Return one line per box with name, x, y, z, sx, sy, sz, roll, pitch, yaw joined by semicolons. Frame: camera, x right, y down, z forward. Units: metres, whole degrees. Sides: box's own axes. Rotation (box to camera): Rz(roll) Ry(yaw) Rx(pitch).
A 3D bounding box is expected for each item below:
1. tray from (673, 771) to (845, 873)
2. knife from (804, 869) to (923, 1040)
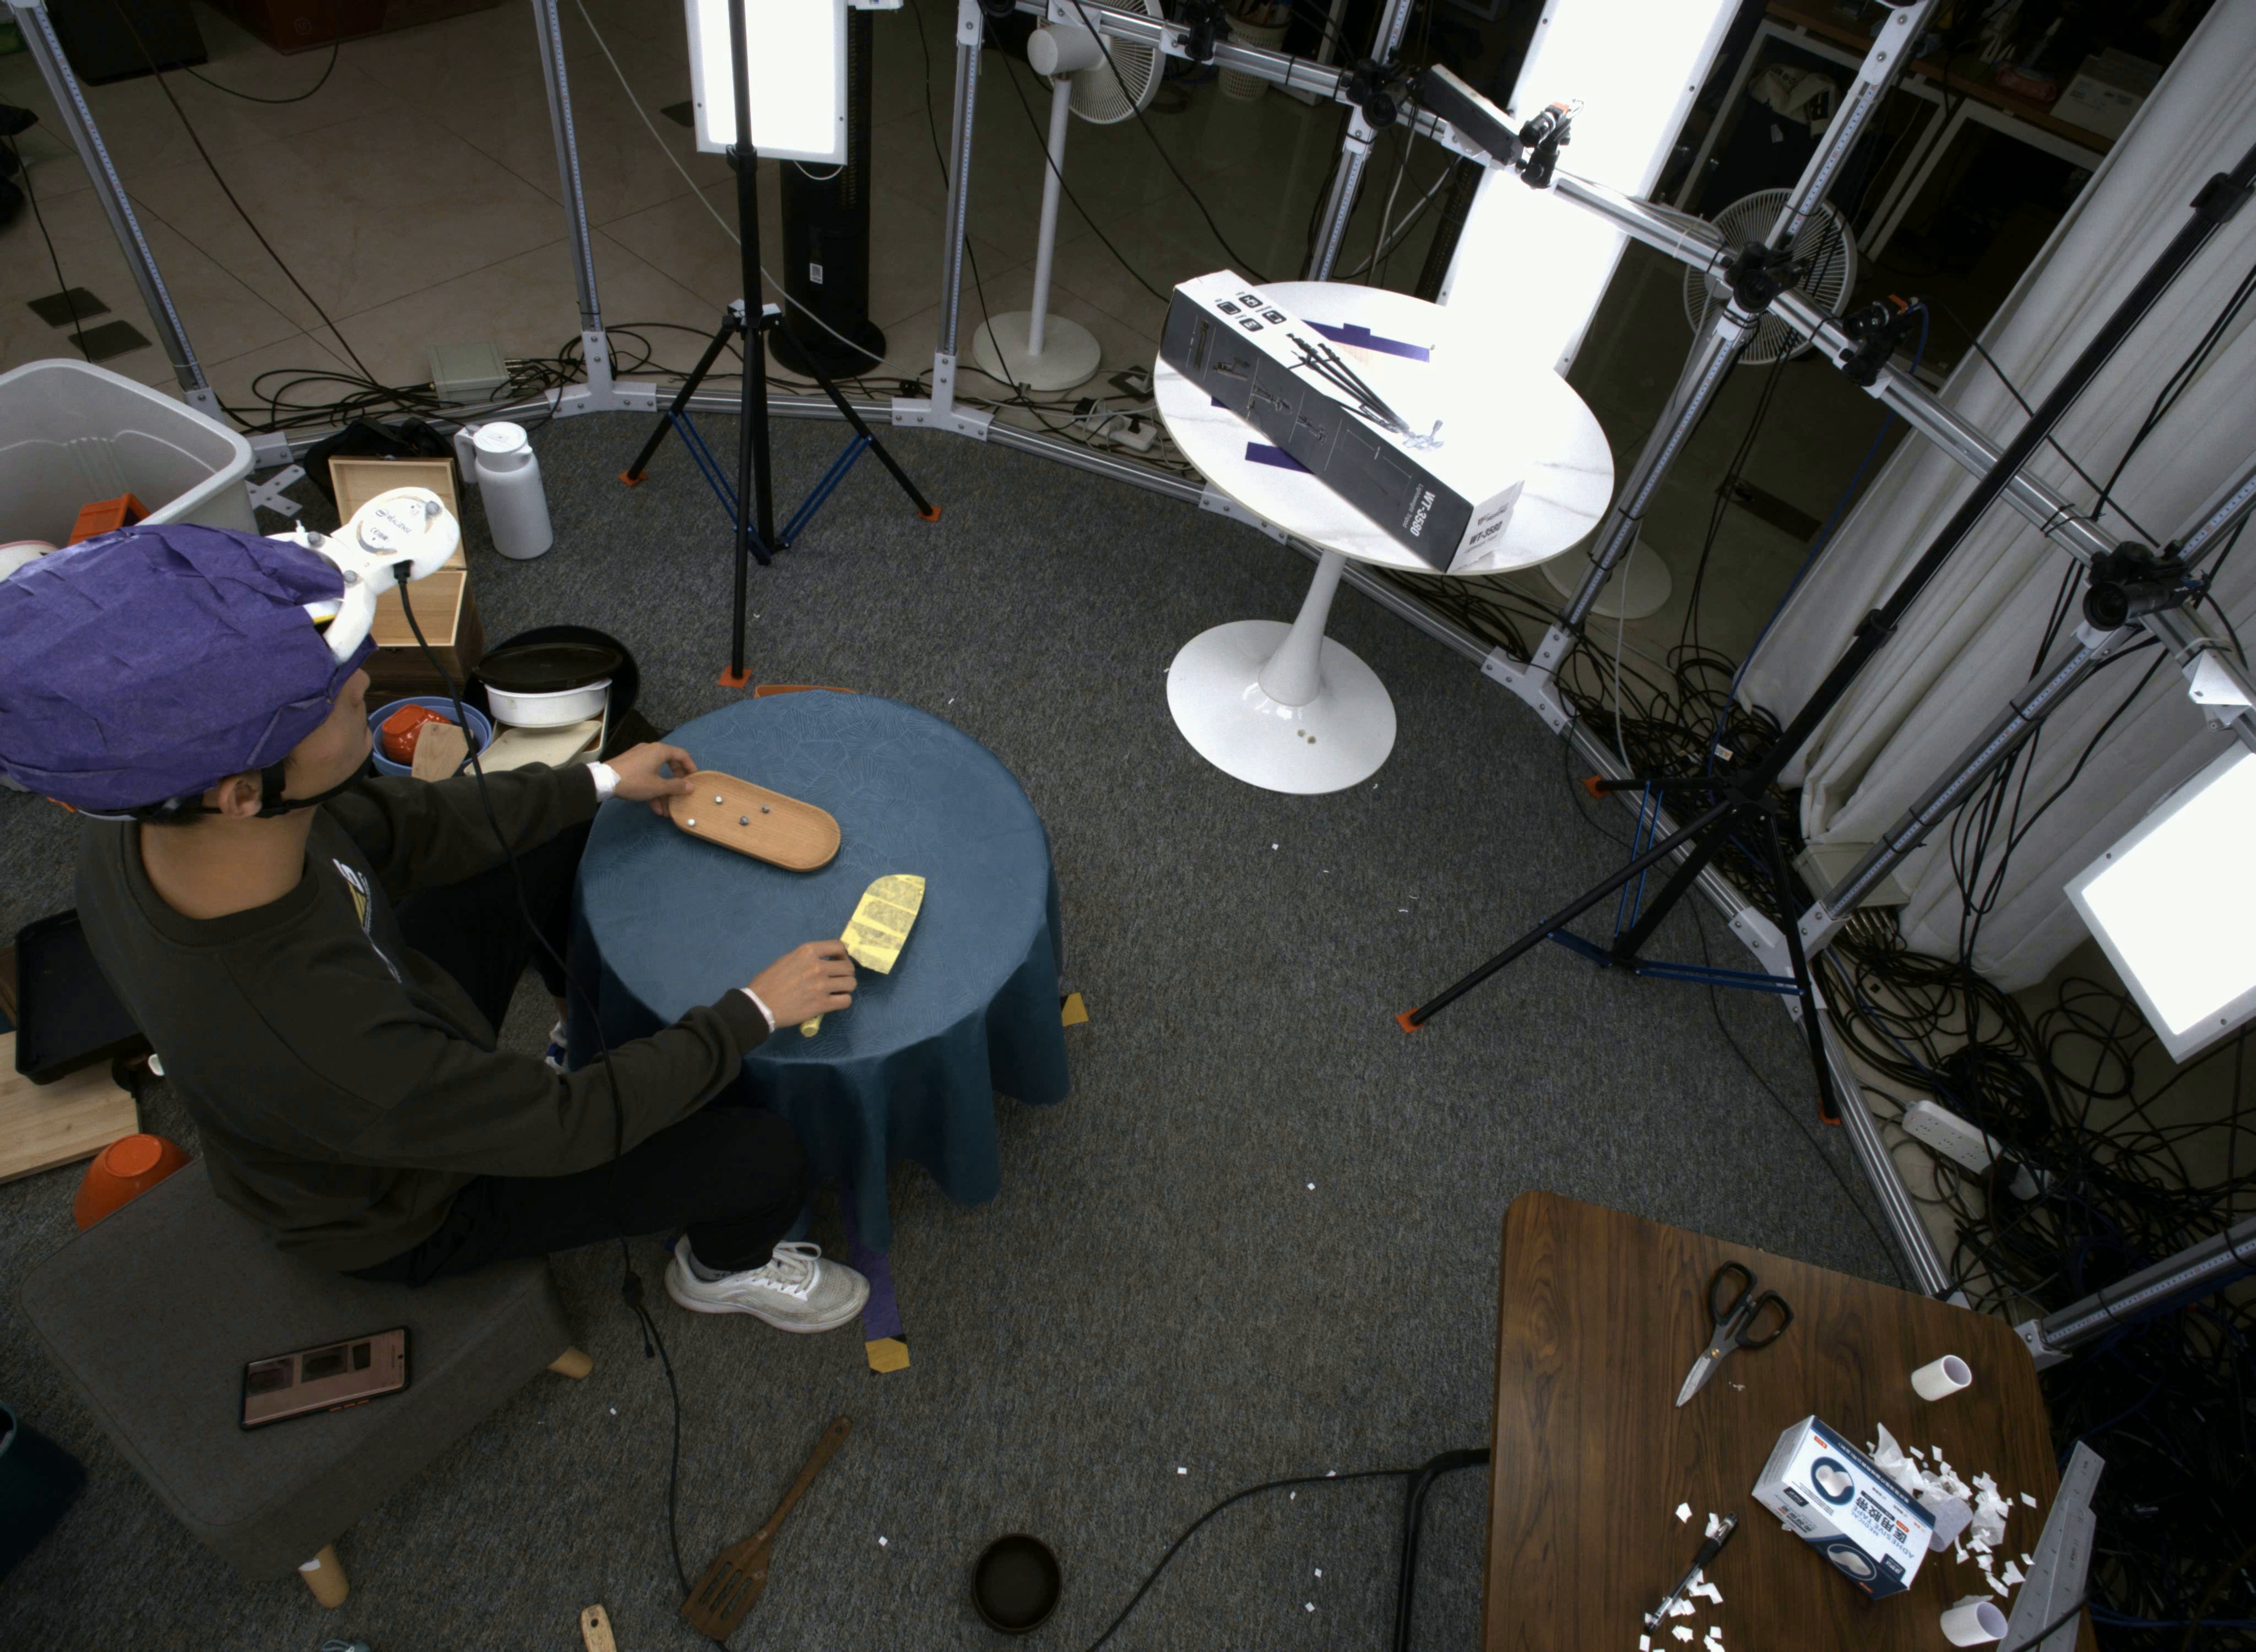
tray;-0.485;-0.006;1.703;0.231;0.020;0.100;21;56;-6
knife;-0.322;0.151;1.603;0.080;0.028;0.286;23;45;-1
